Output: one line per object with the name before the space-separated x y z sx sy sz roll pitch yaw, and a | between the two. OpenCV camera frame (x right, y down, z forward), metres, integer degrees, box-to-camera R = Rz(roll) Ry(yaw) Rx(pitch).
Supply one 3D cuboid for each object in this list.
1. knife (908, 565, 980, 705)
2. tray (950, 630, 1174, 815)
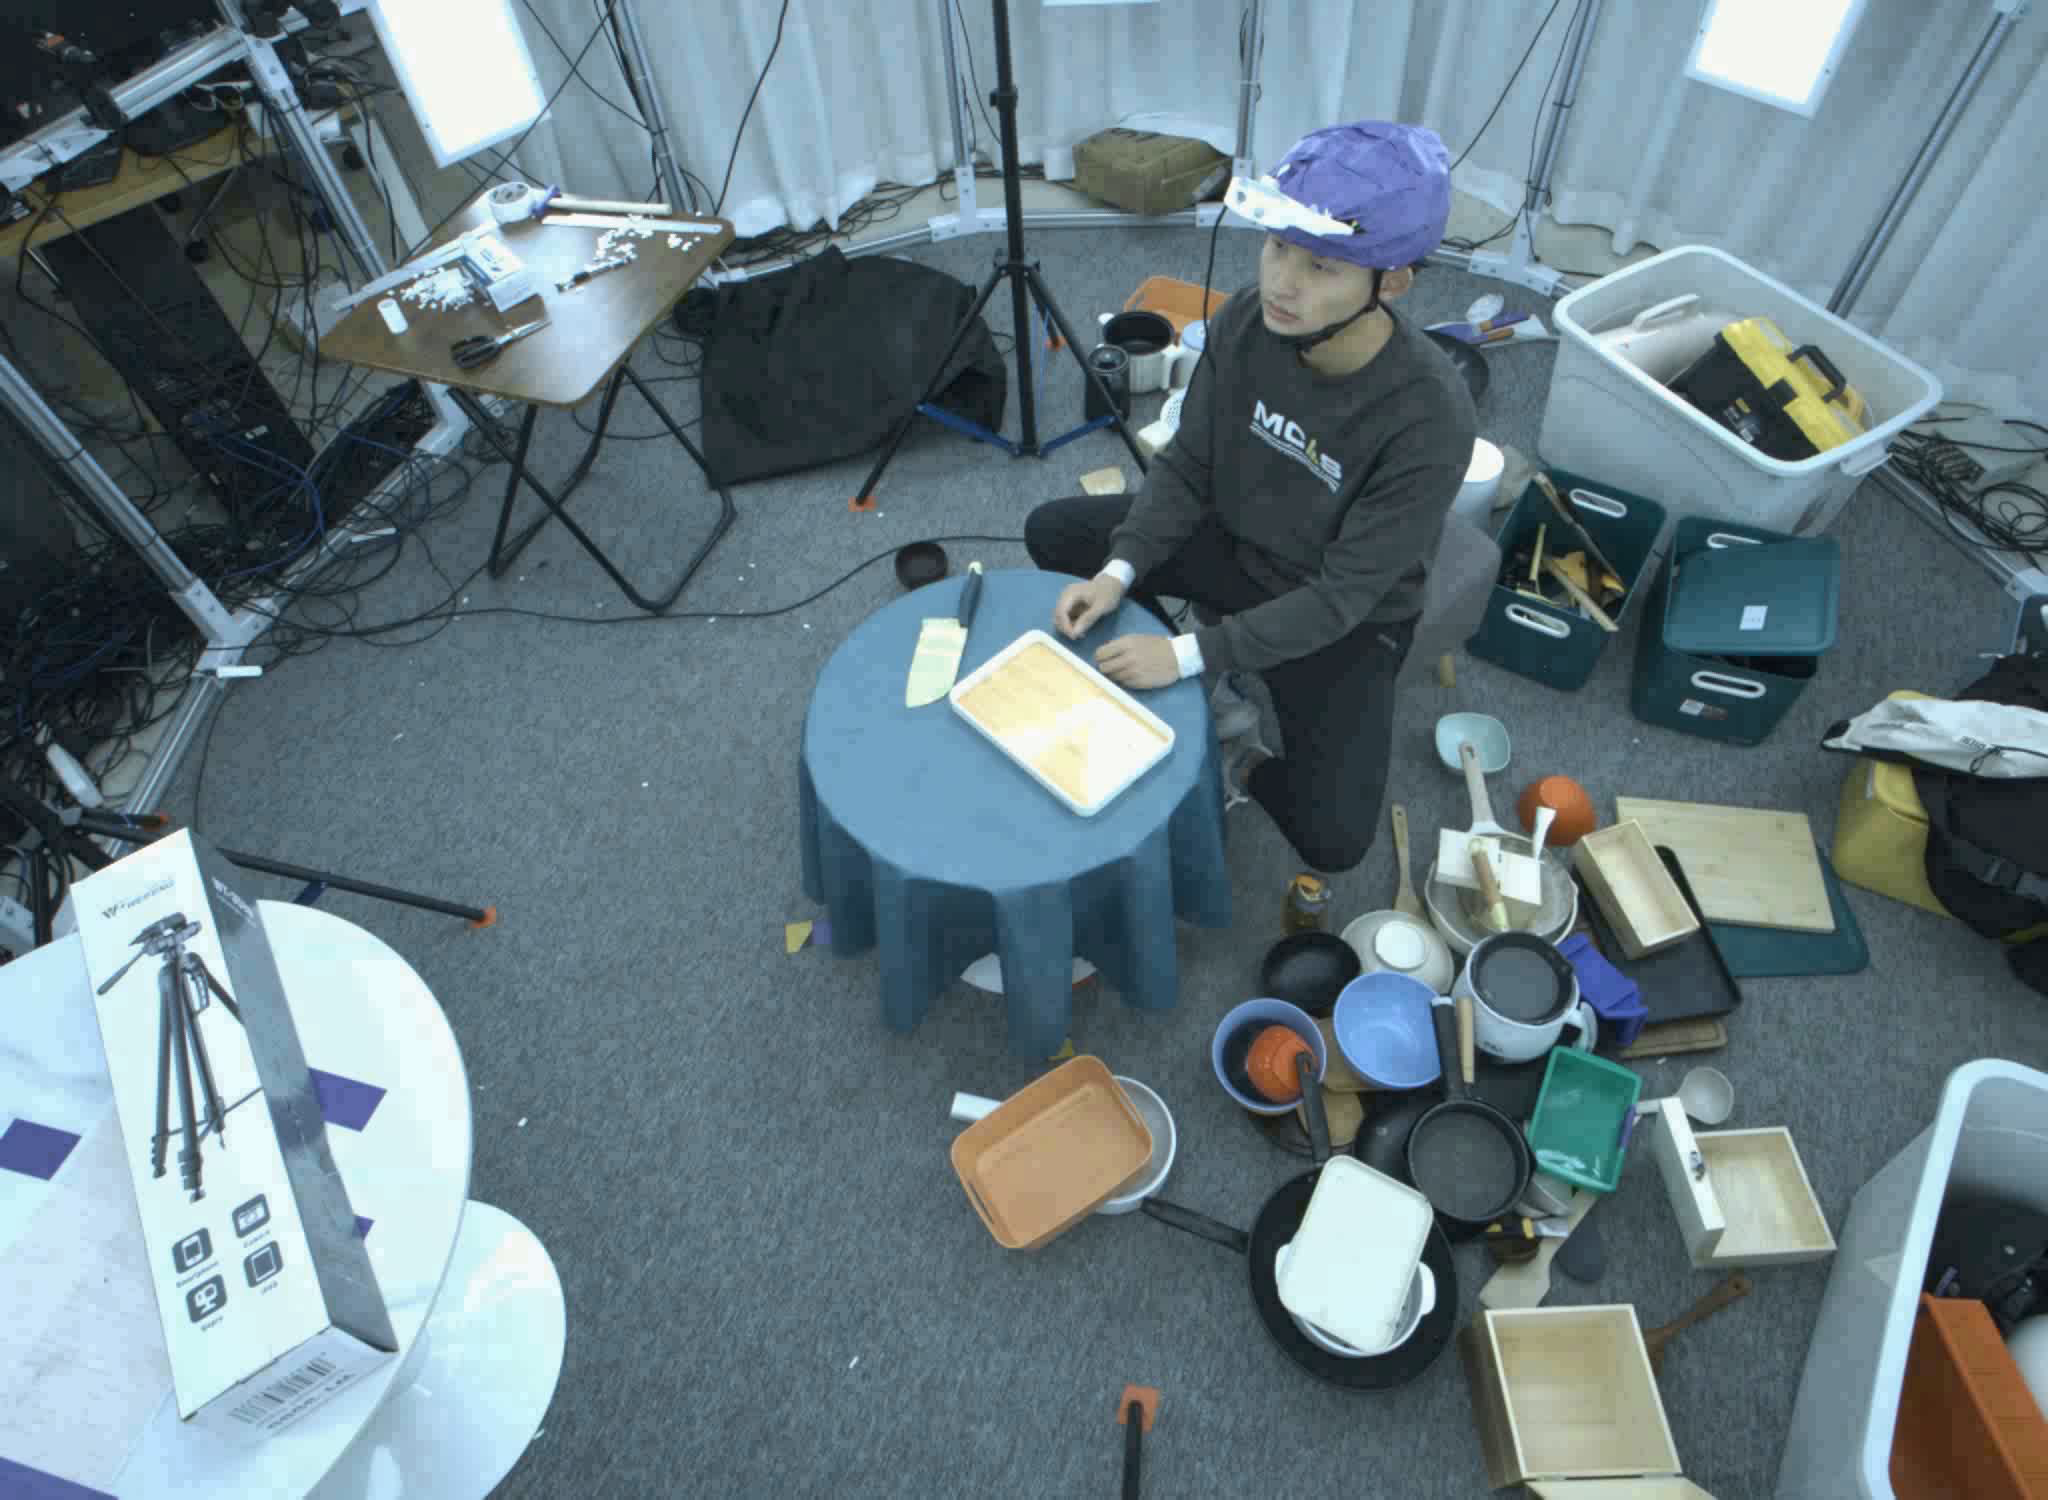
knife | -0.123 -0.183 1.920 0.080 0.027 0.288 11 56 7
tray | 0.053 -0.046 1.811 0.193 0.027 0.295 -38 62 -24
